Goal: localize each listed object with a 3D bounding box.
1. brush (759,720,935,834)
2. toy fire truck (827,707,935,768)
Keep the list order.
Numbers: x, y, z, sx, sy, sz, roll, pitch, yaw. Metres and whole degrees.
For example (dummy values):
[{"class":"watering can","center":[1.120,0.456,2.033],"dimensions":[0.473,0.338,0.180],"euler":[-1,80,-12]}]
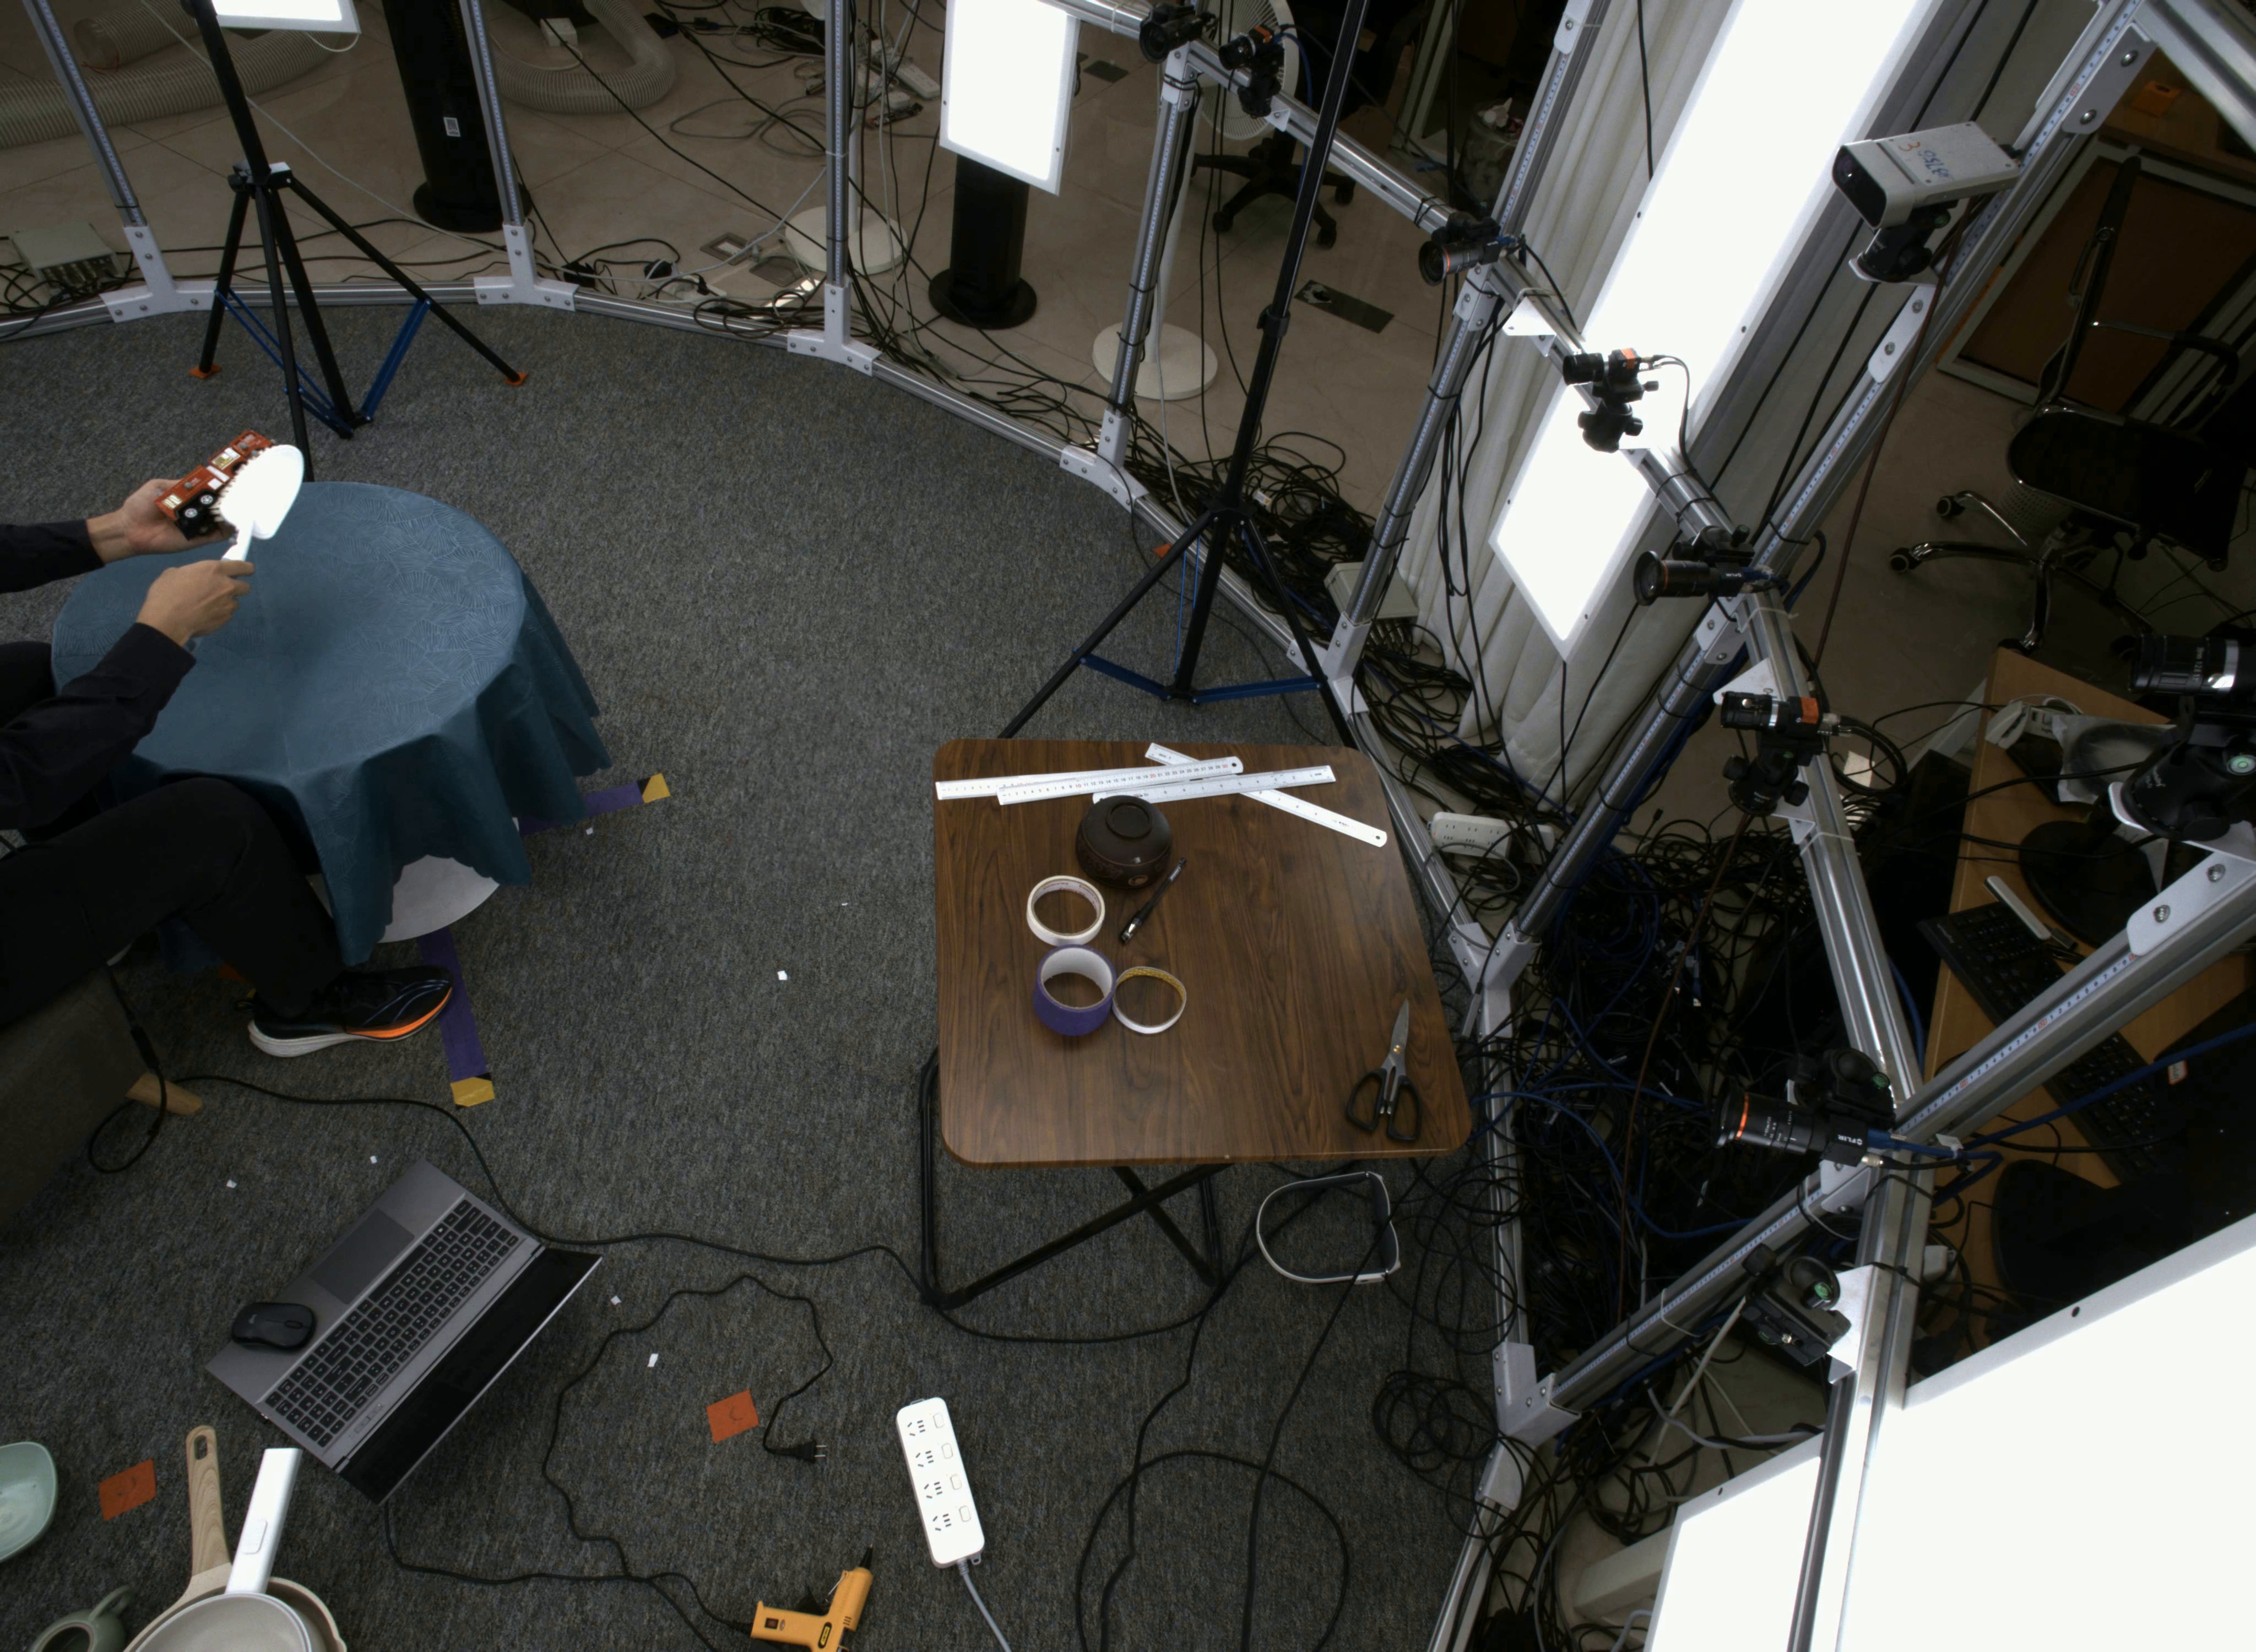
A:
[{"class":"brush","center":[-0.422,-0.072,1.922],"dimensions":[0.080,0.087,0.326],"euler":[36,52,24]},{"class":"toy fire truck","center":[-0.384,-0.139,2.017],"dimensions":[0.168,0.056,0.068],"euler":[-18,43,-23]}]
